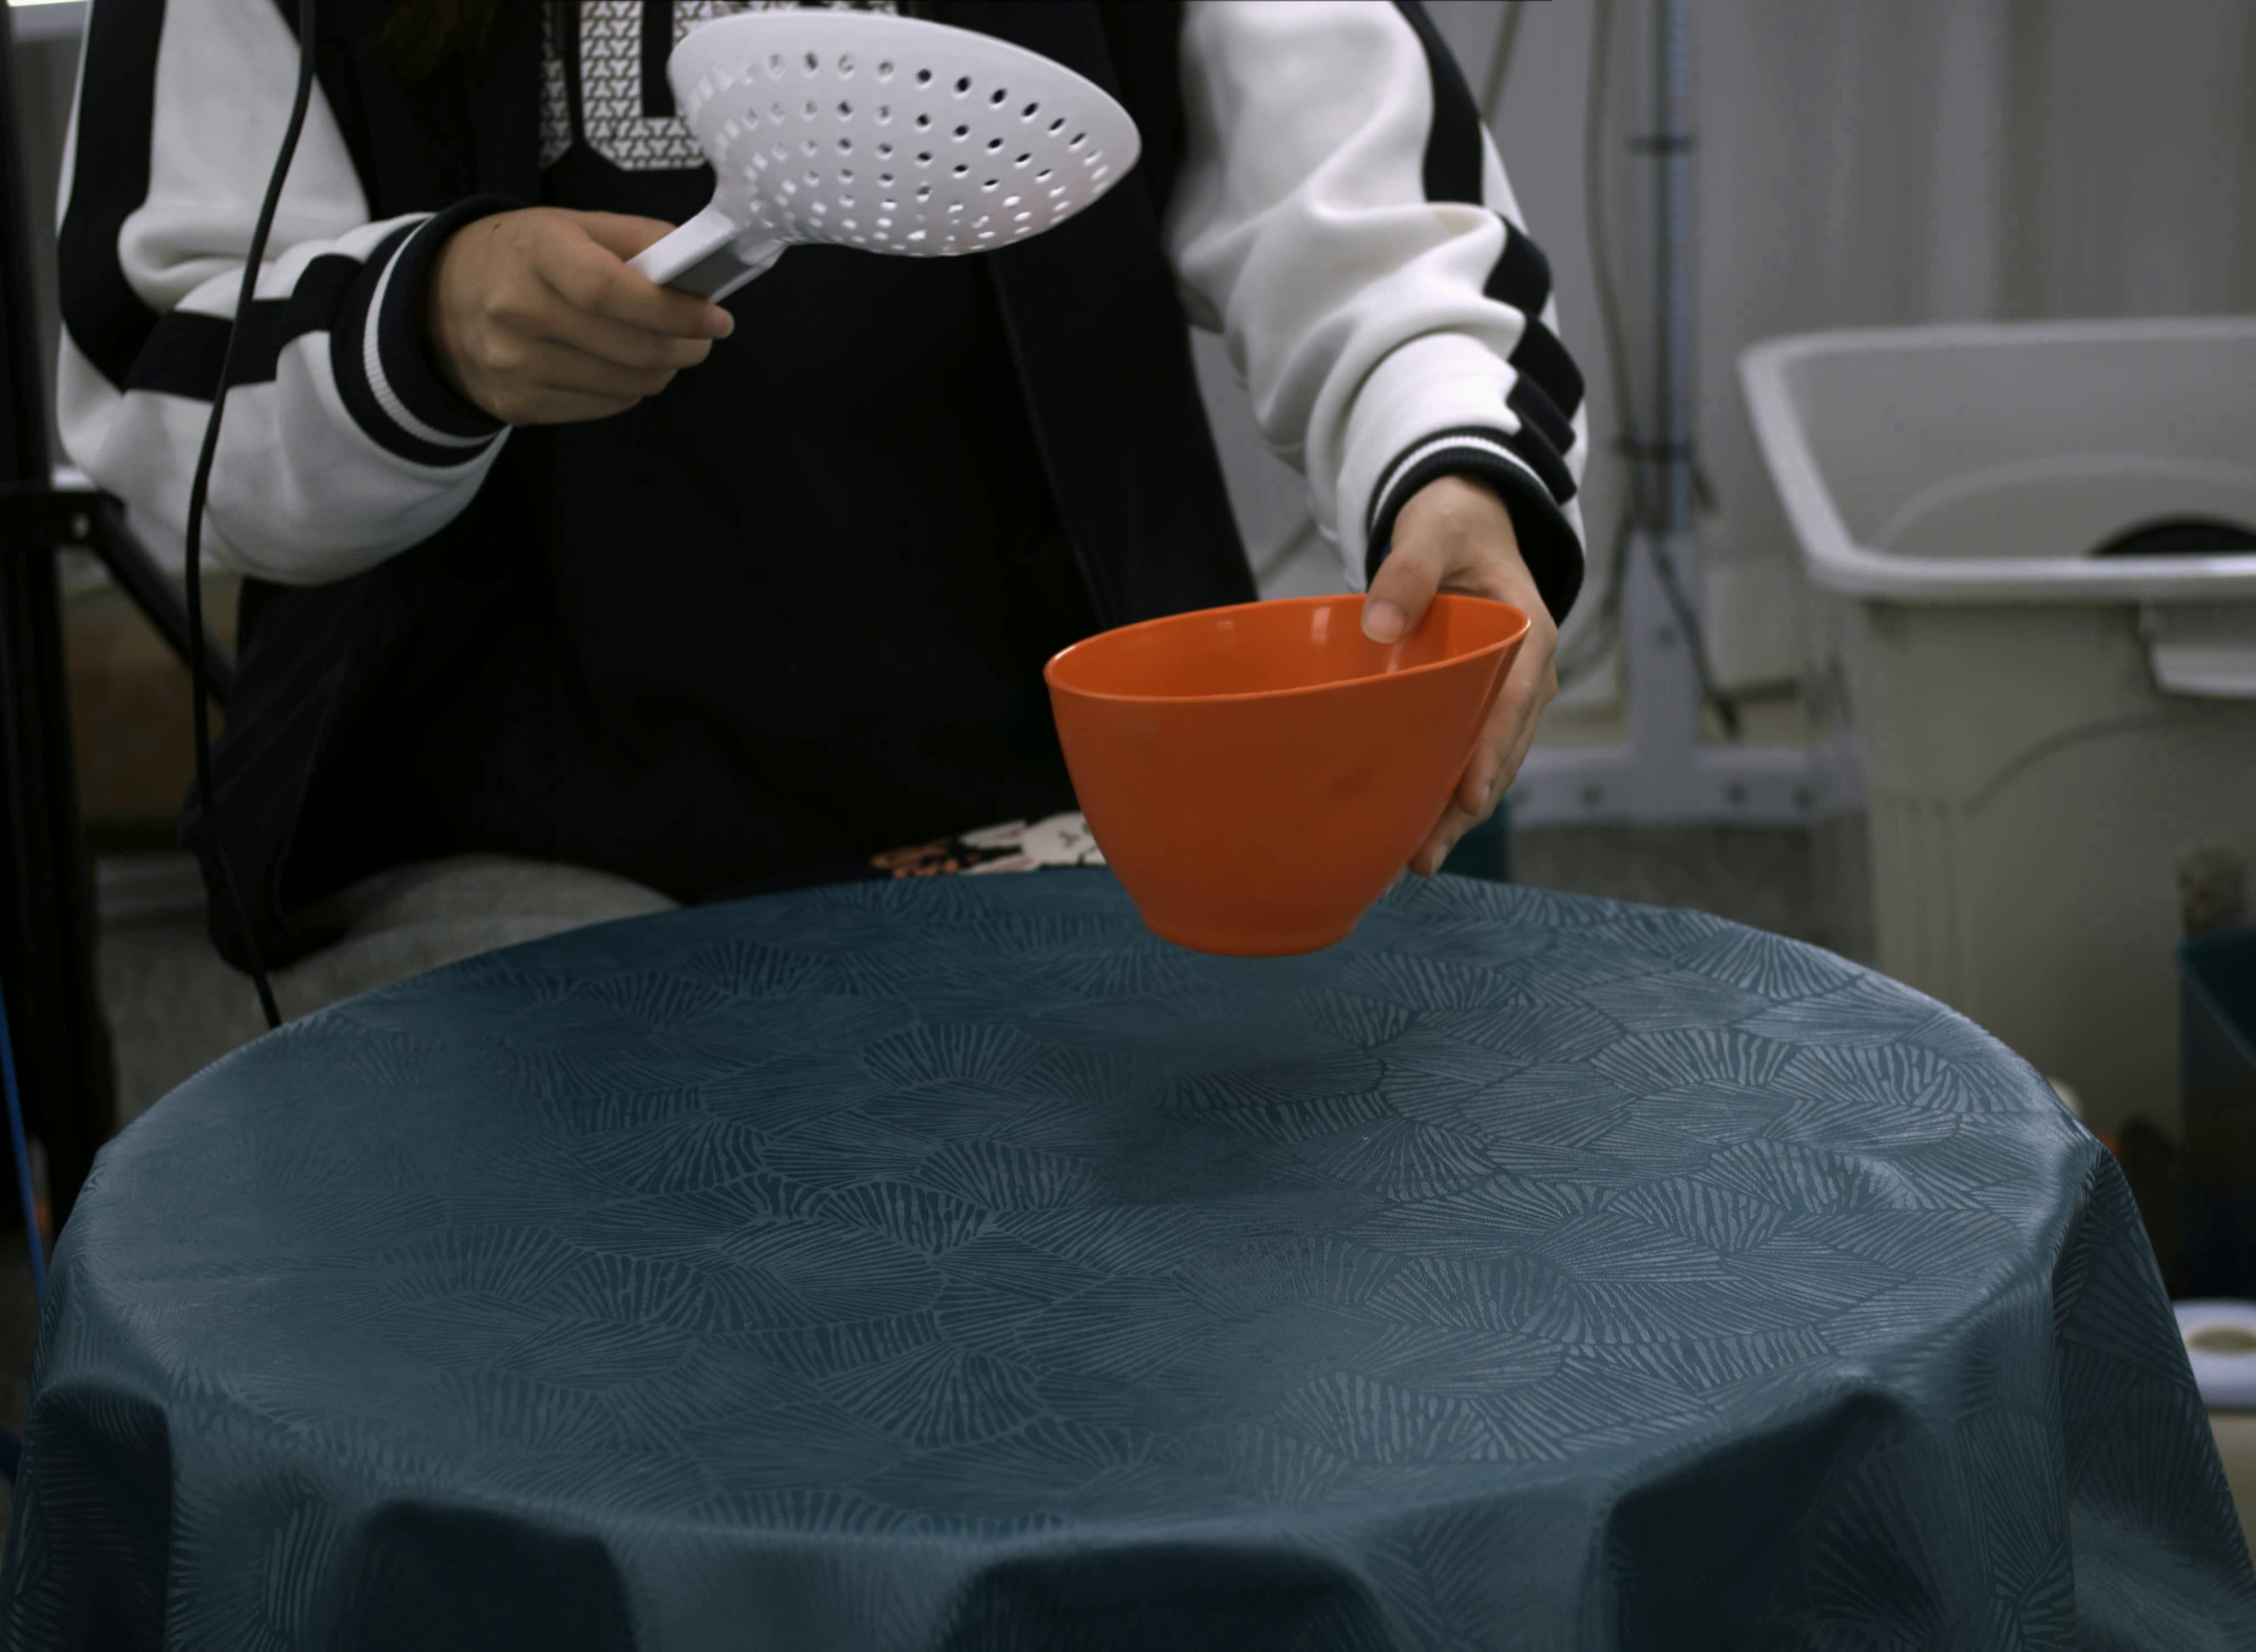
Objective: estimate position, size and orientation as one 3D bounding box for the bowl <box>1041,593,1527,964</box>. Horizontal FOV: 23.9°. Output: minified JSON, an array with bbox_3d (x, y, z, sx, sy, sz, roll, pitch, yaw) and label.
[{"bbox_3d":[0.046,-0.015,1.619,0.147,0.104,0.149,-1,19,-1],"label":"bowl"}]

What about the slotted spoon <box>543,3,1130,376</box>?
[{"bbox_3d":[-0.112,-0.183,1.621,0.133,0.046,0.355,14,-9,-22],"label":"slotted spoon"}]
